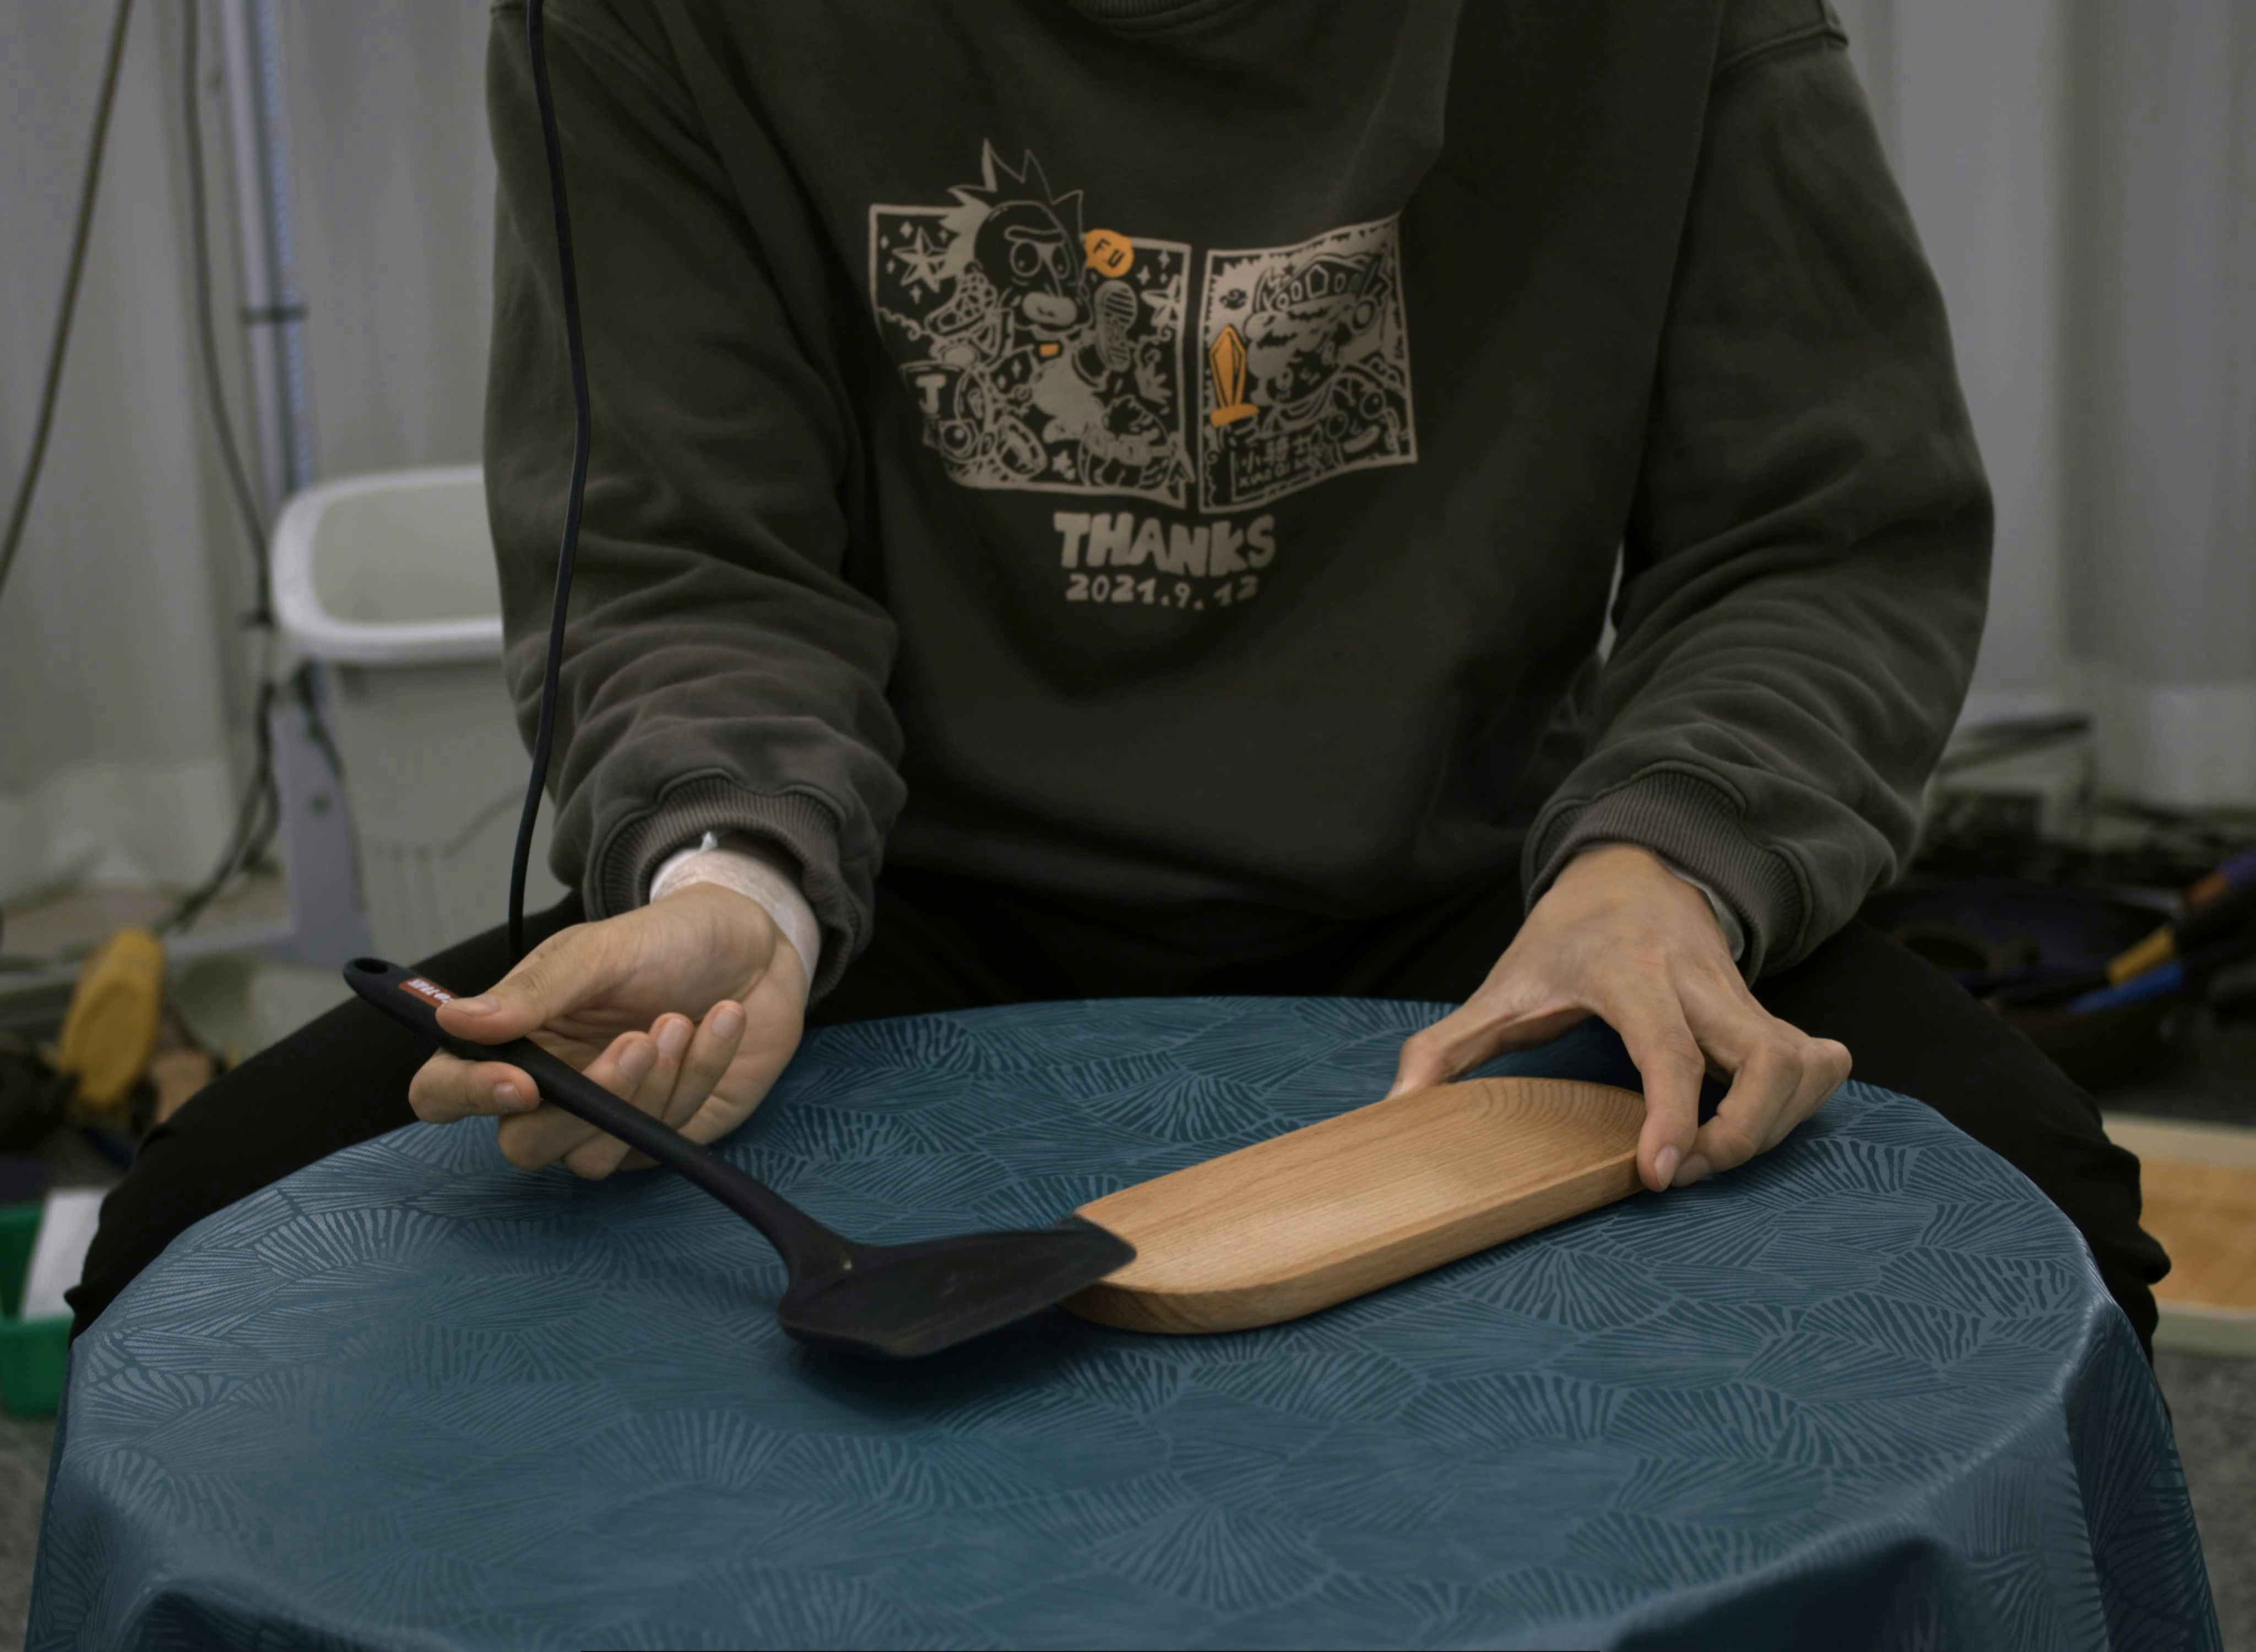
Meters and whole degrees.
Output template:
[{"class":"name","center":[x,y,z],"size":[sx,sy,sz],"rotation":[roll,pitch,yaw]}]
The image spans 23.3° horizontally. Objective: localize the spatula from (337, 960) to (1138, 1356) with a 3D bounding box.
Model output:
[{"class":"spatula","center":[-0.139,0.093,1.667],"size":[0.099,0.040,0.329],"rotation":[-20,35,-40]}]

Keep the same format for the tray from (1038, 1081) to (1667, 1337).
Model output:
[{"class":"tray","center":[0.070,0.116,1.672],"size":[0.231,0.020,0.102],"rotation":[-17,19,-39]}]
